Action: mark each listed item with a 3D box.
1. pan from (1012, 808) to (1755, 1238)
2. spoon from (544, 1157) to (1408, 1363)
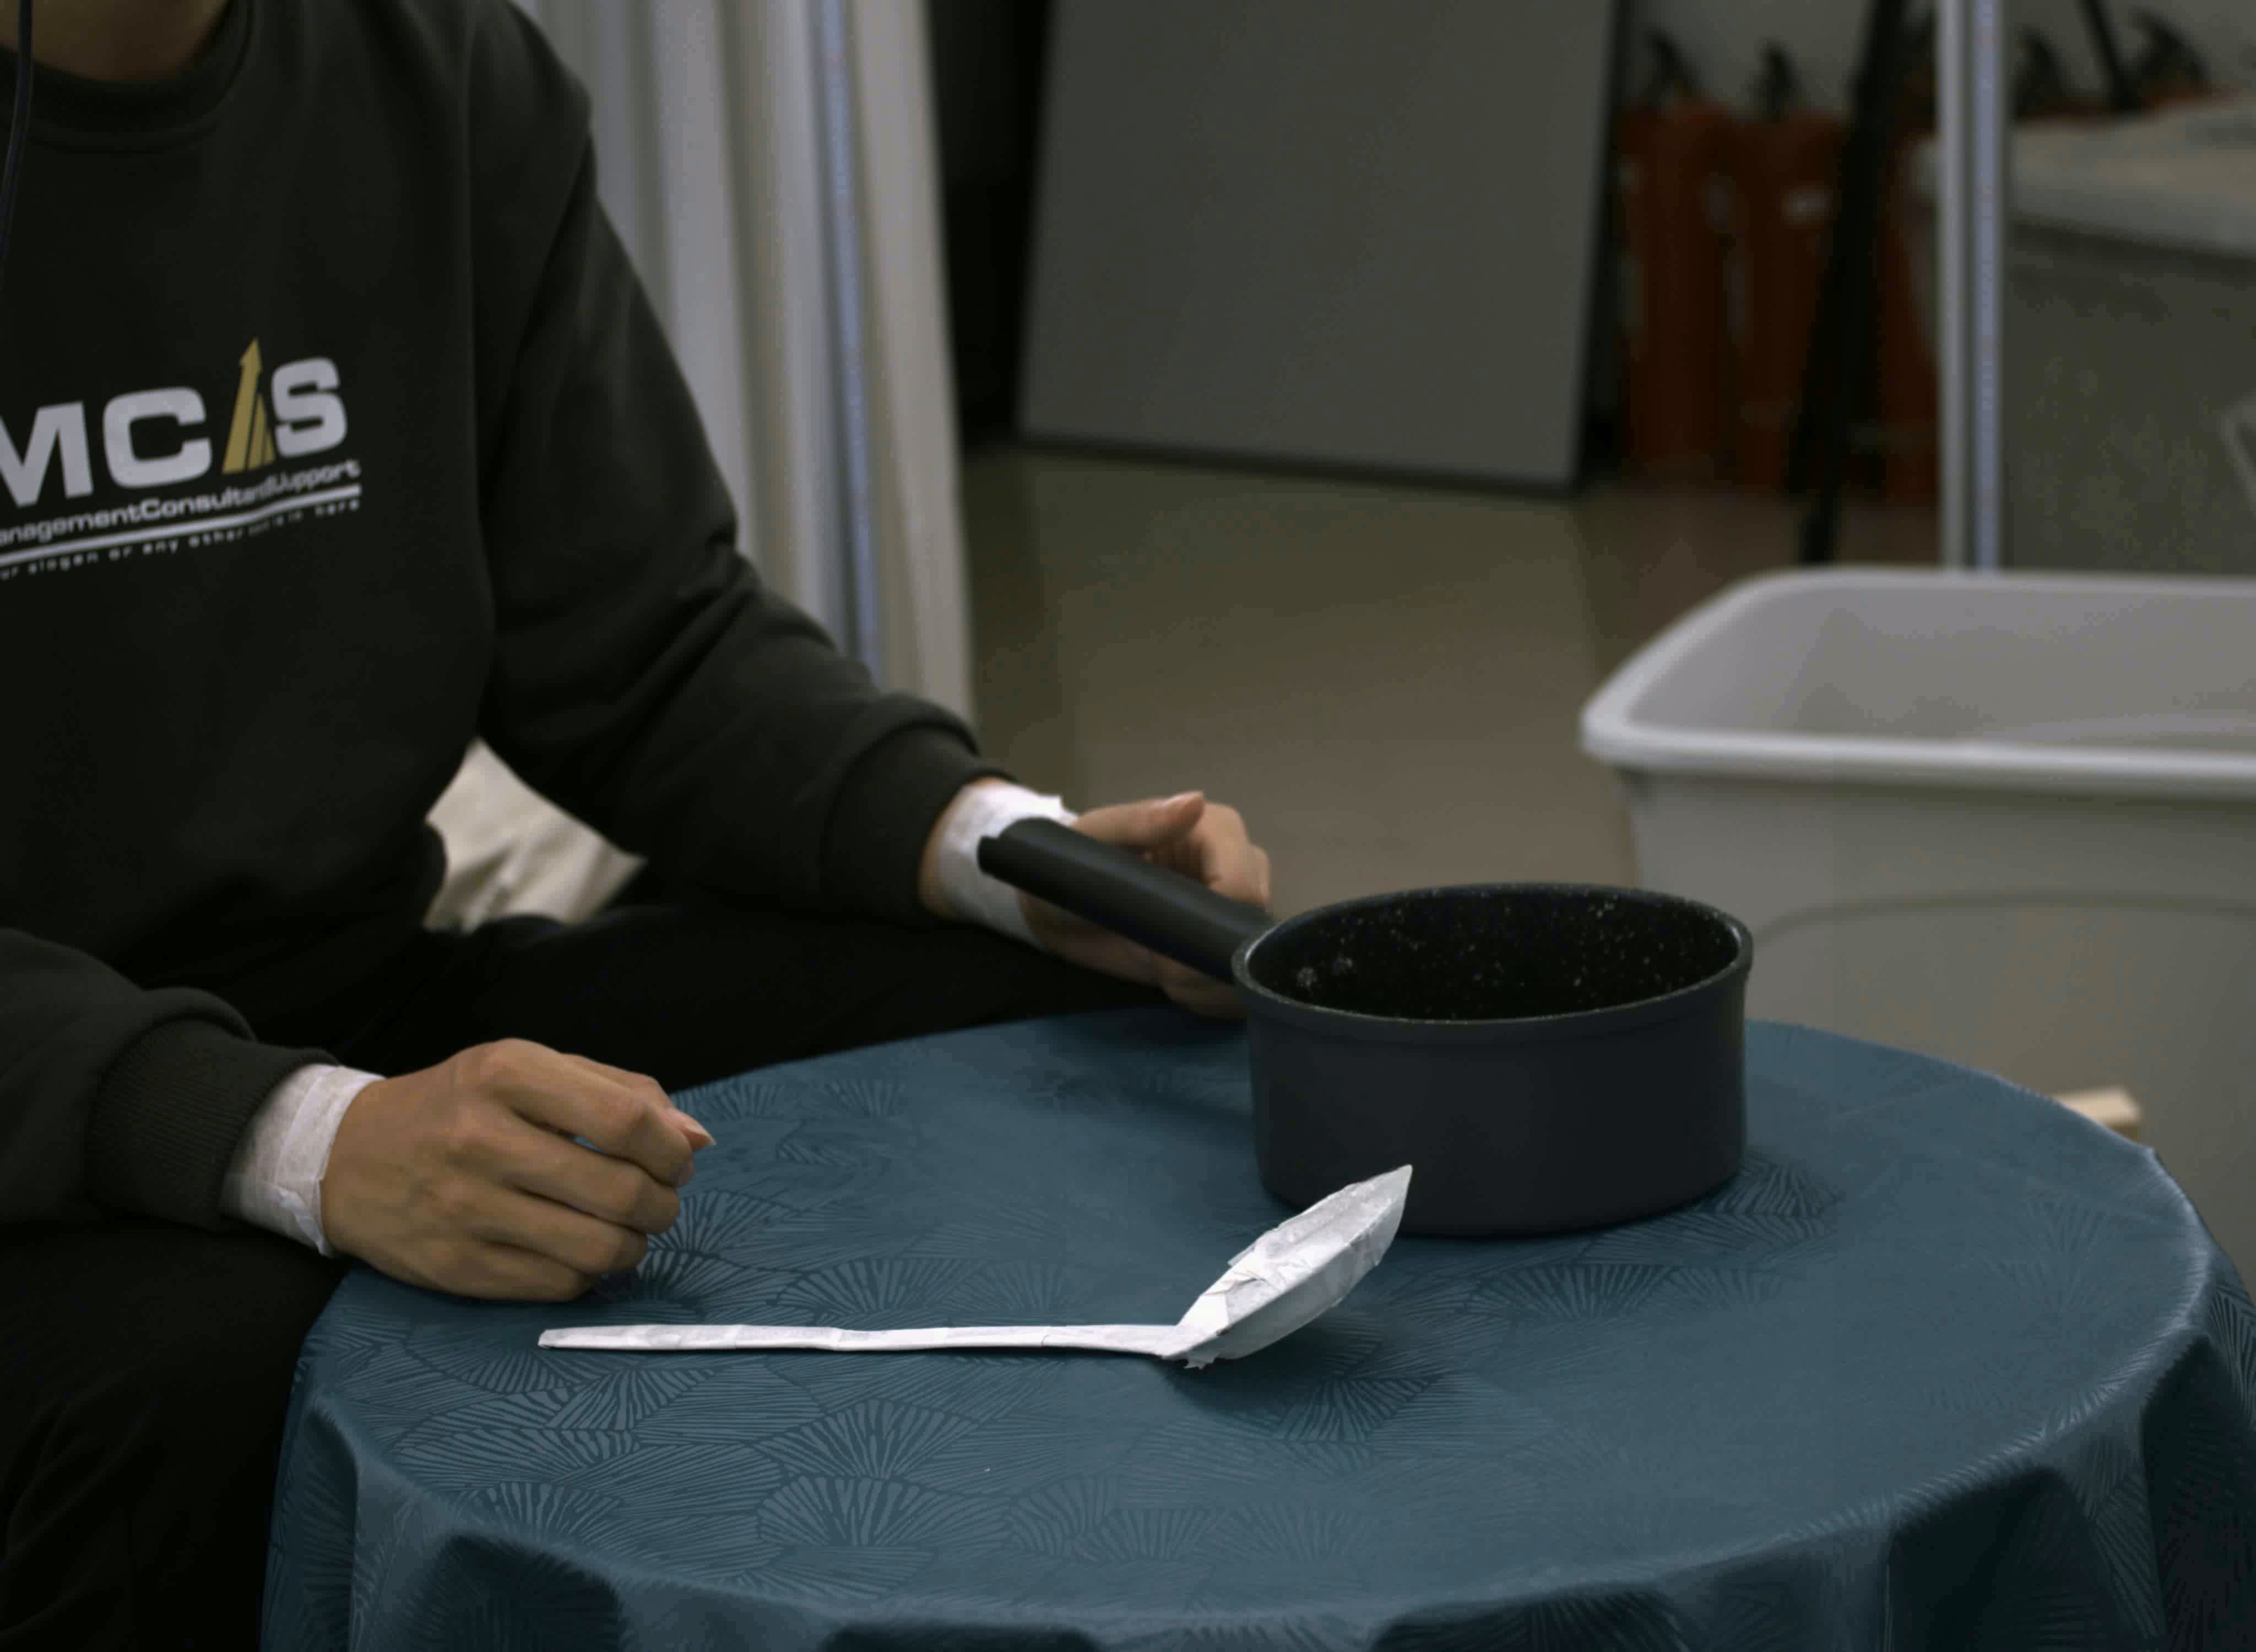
[{"bbox_3d":[0.071,0.062,1.823,0.168,0.087,0.332,-13,17,-37],"label":"pan"},{"bbox_3d":[-0.048,0.129,1.635,0.276,0.060,0.100,0,11,16],"label":"spoon"}]
